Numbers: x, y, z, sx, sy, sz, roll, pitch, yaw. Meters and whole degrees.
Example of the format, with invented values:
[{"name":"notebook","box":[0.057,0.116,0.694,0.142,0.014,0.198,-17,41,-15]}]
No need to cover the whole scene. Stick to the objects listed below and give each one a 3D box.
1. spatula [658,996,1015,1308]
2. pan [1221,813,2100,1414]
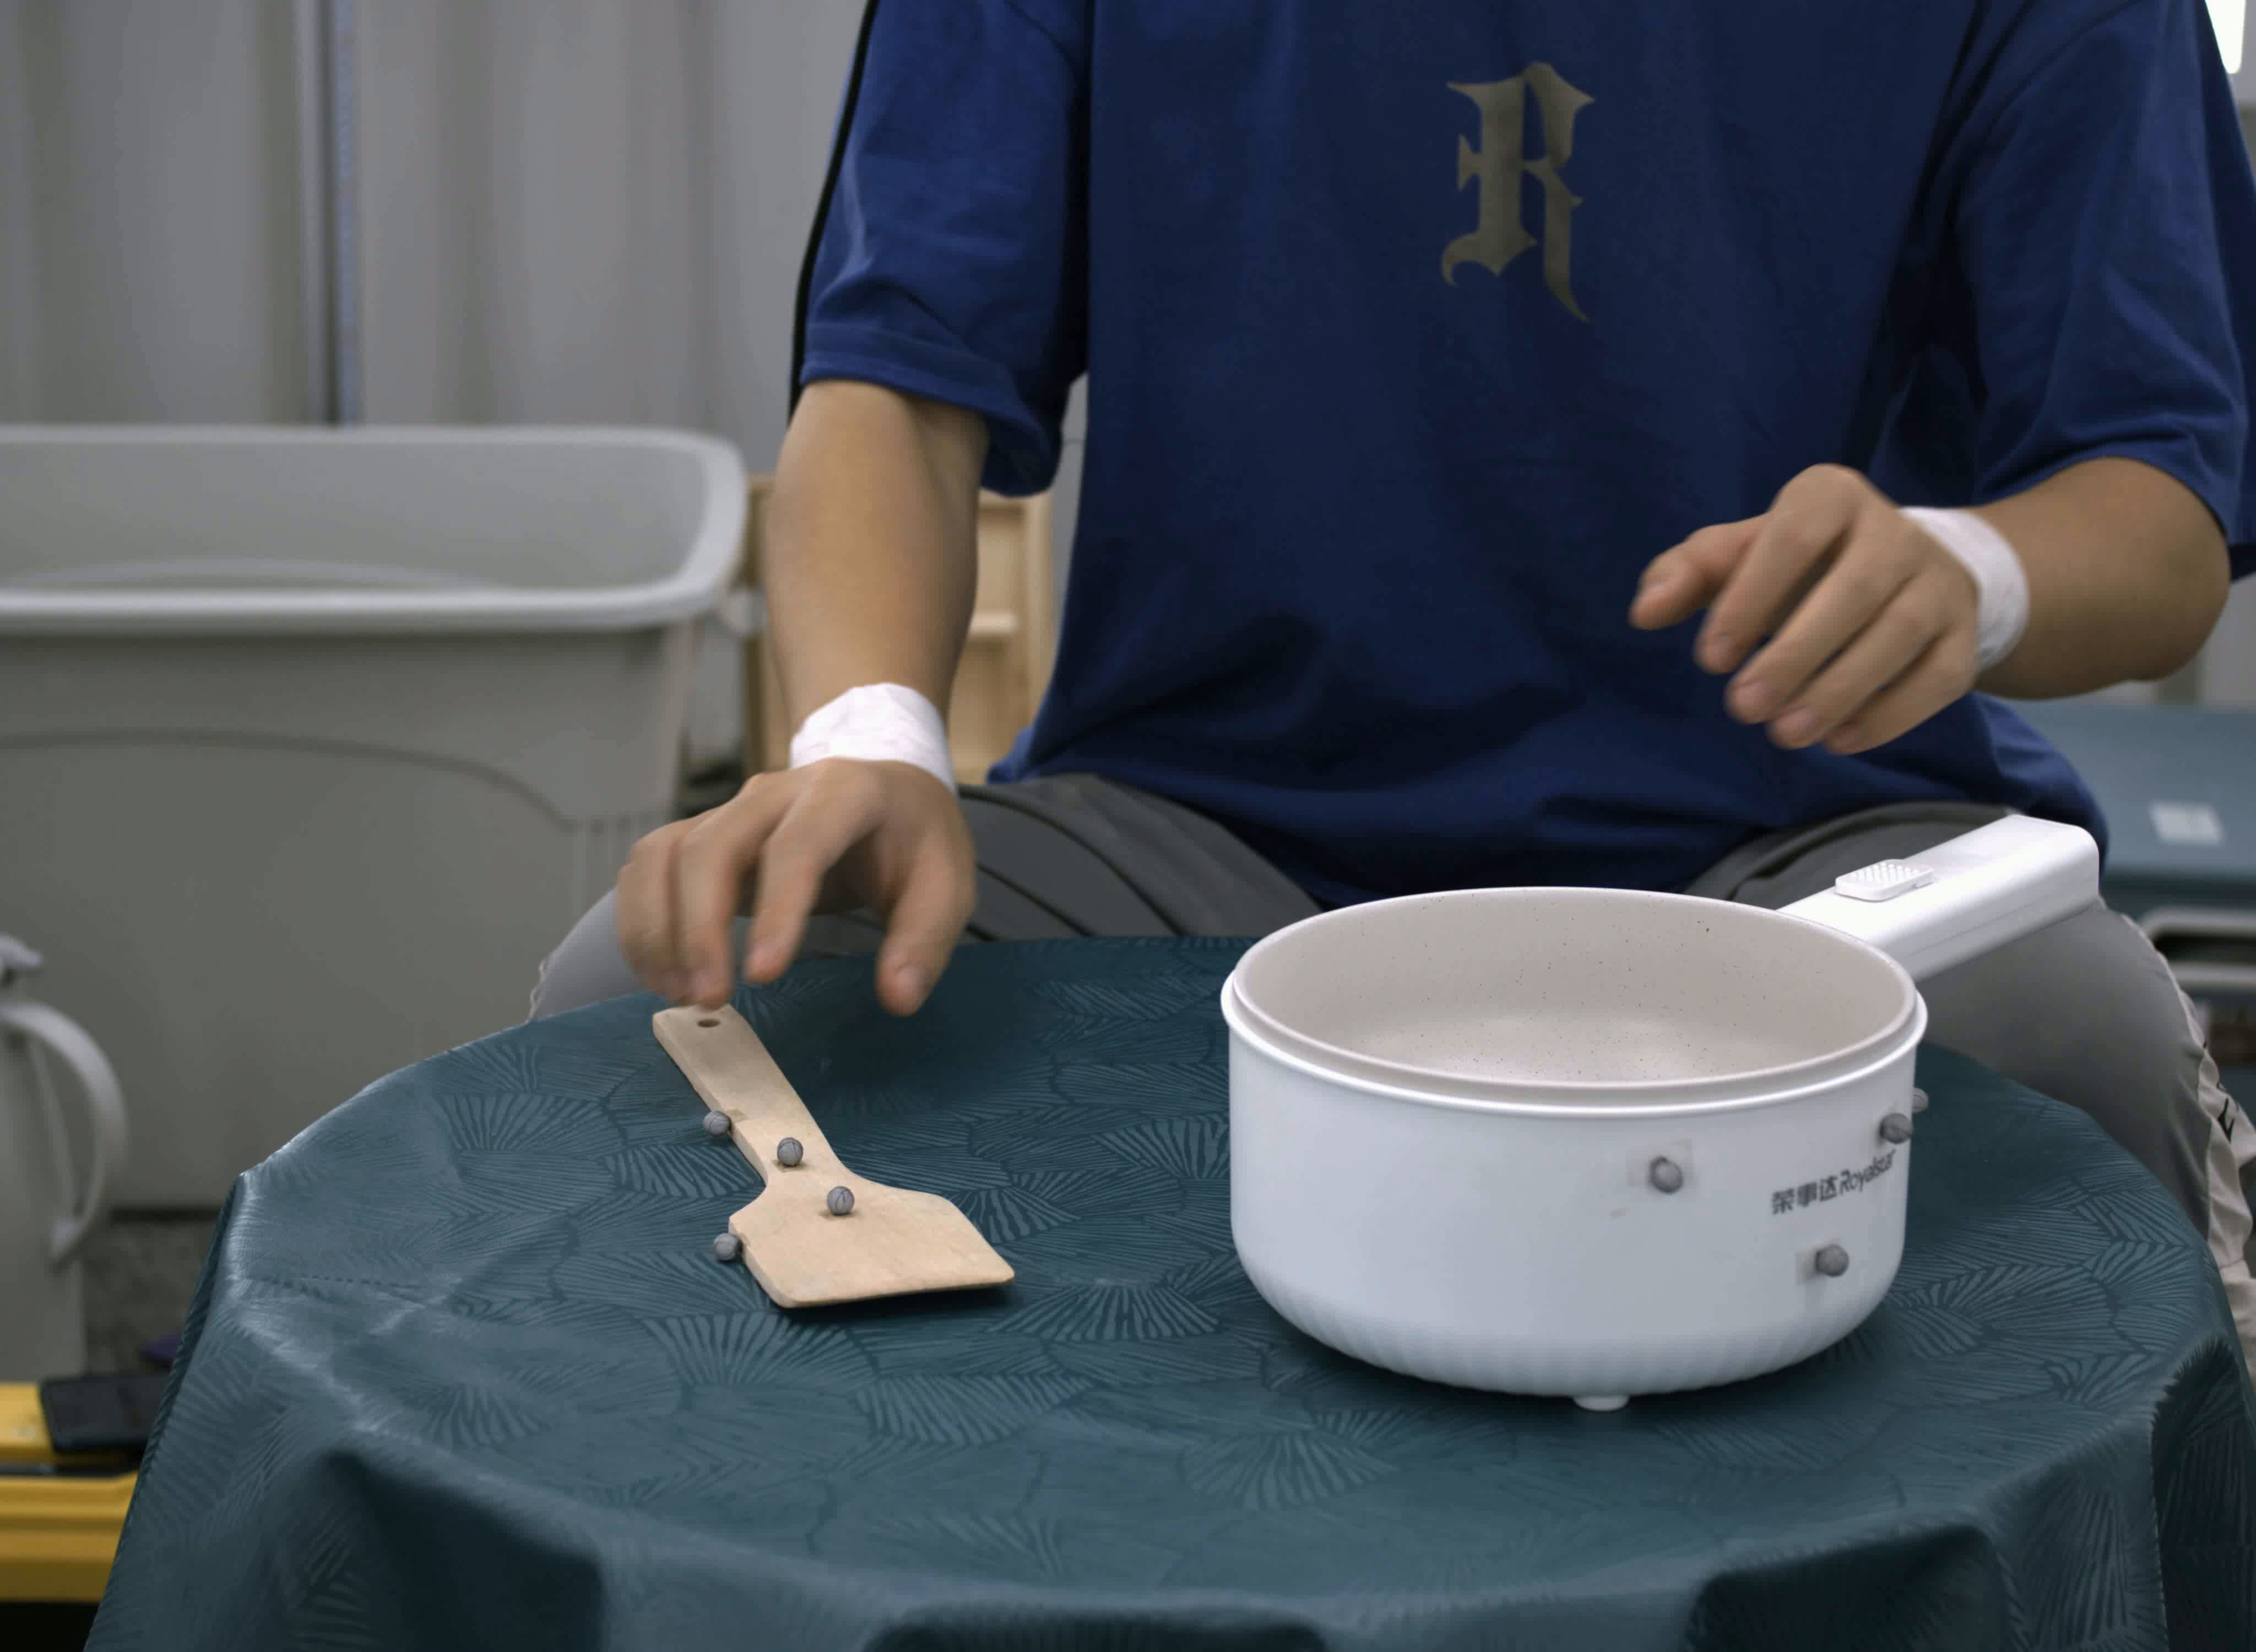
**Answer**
[{"name":"spatula","box":[-0.107,0.099,1.649,0.072,0.011,0.290,-5,17,-16]},{"name":"pan","box":[0.177,0.078,1.568,0.198,0.103,0.356,12,19,39]}]
